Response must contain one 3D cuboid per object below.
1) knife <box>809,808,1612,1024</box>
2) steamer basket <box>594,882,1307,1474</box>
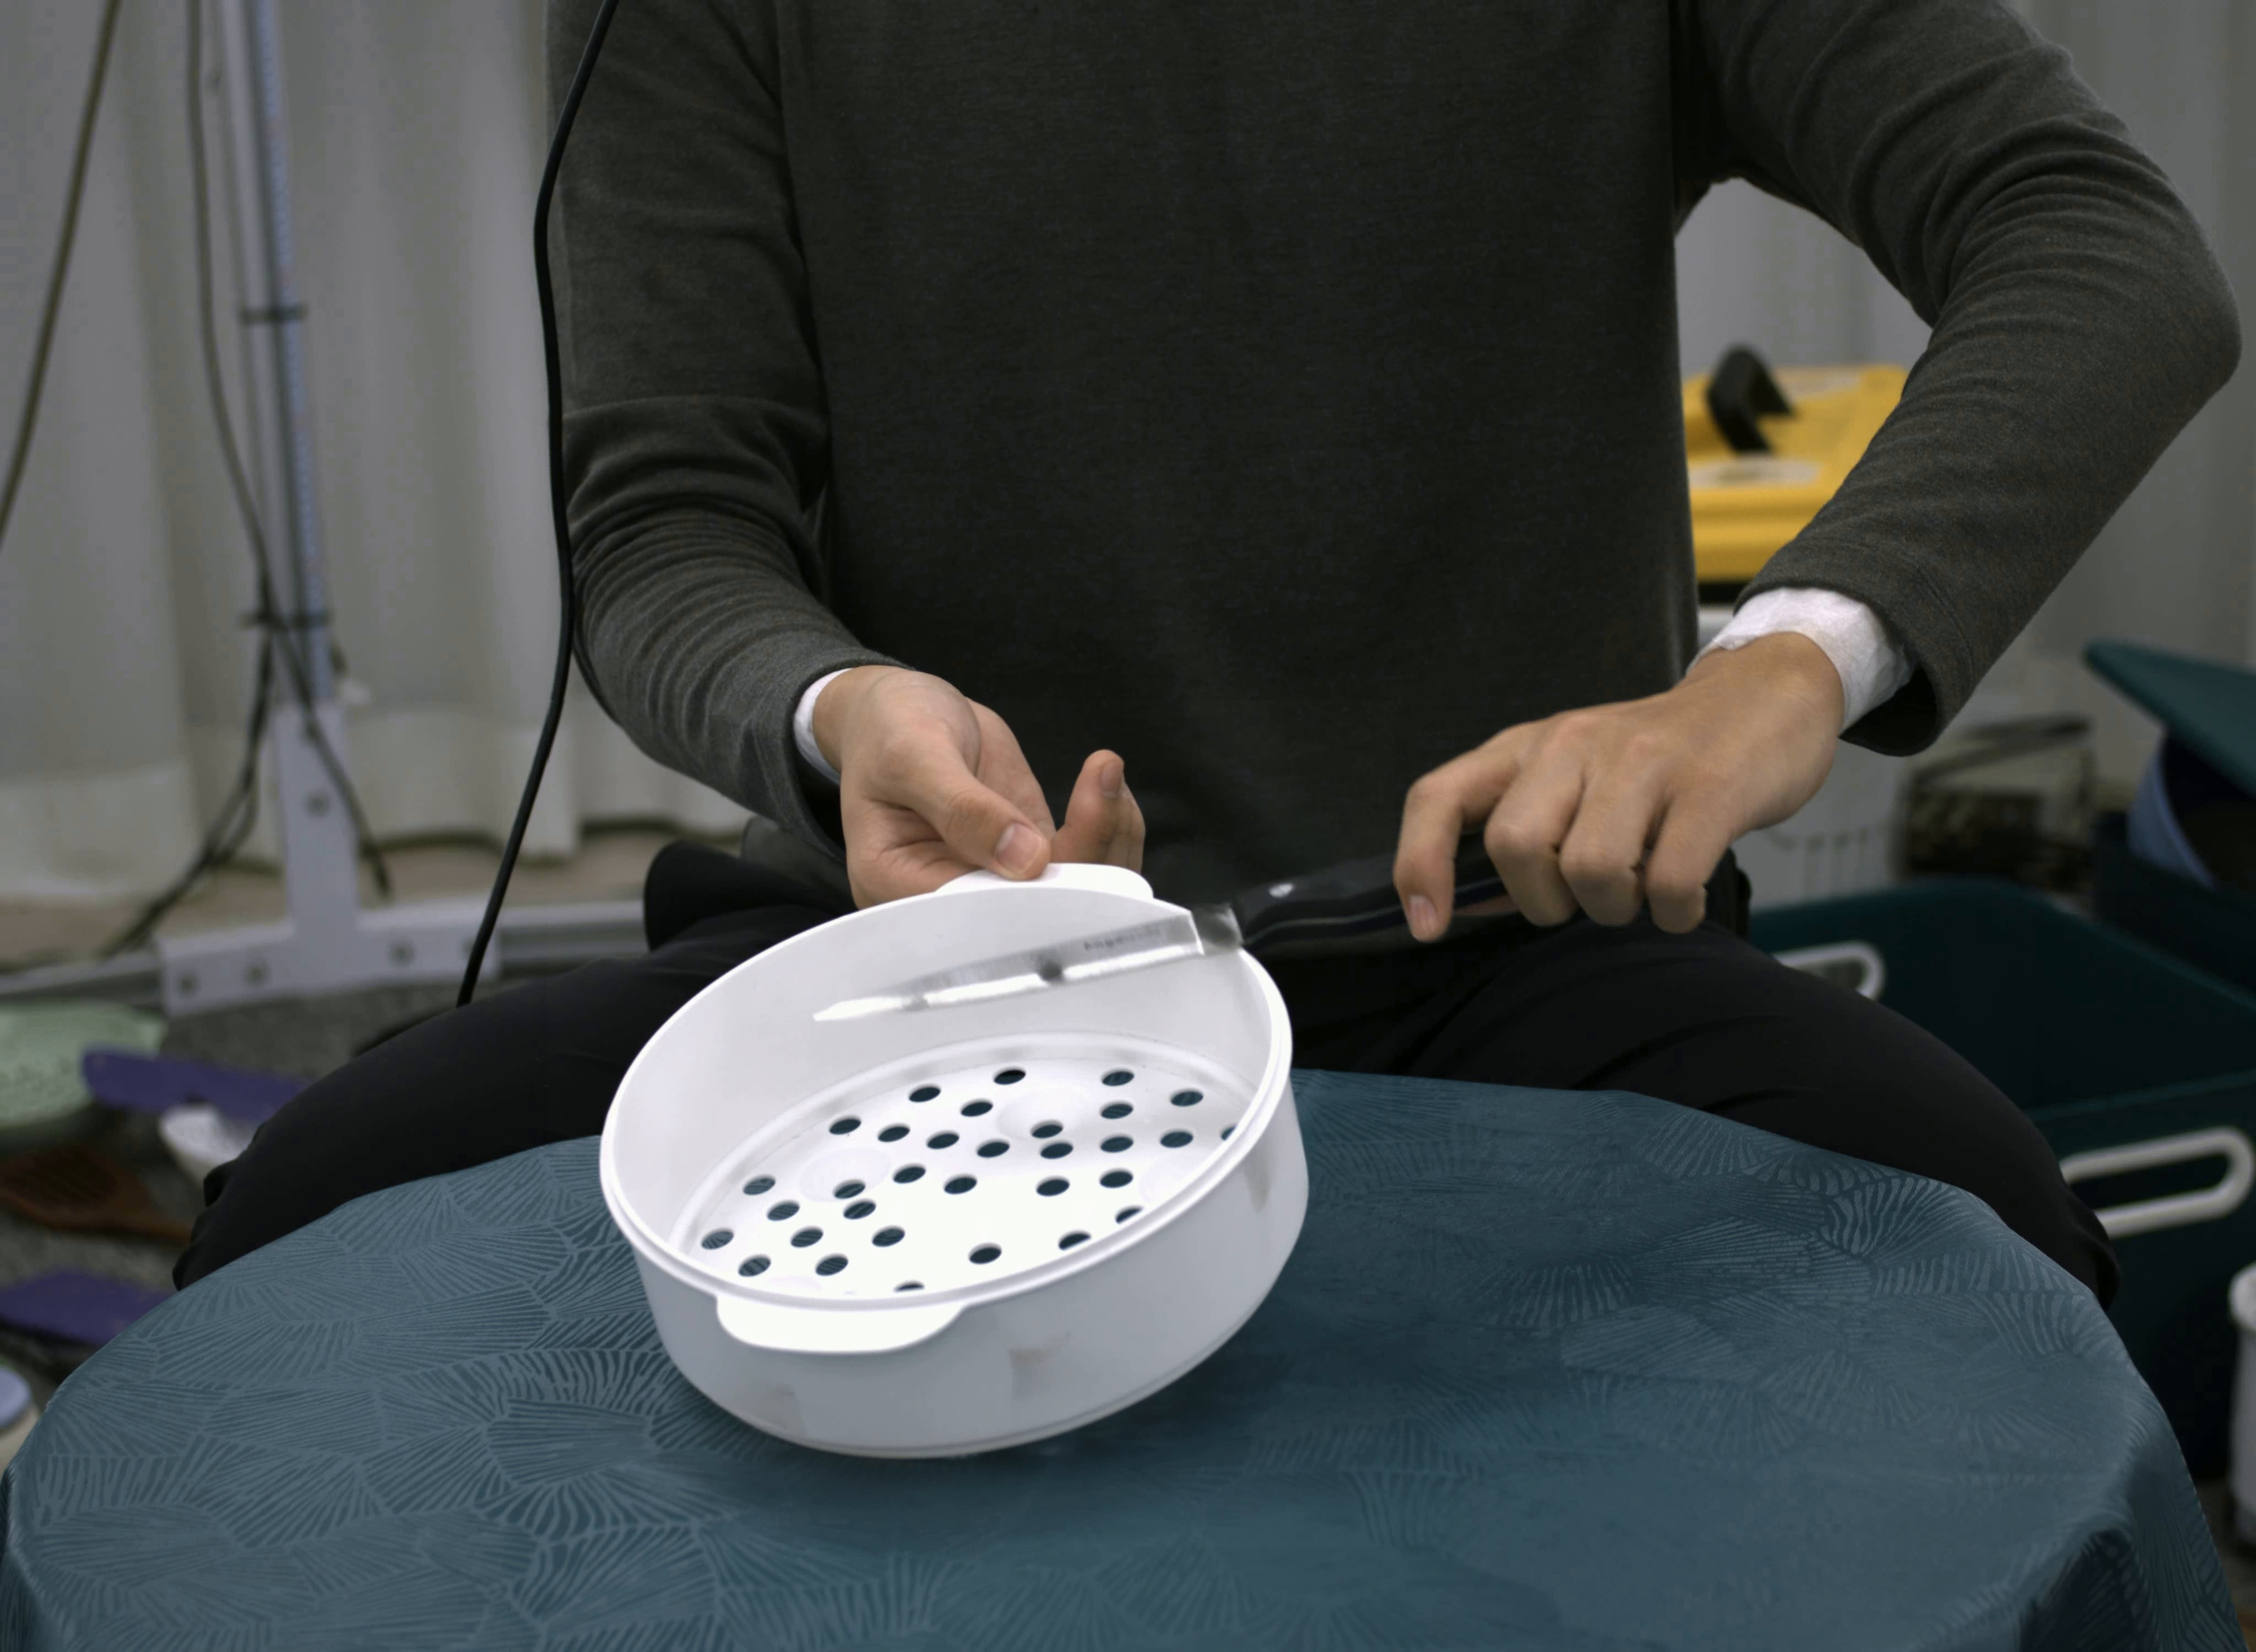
[{"bbox_3d":[0.023,0.028,1.585,0.237,0.016,0.025,-13,30,-1],"label":"knife"},{"bbox_3d":[-0.048,0.102,1.559,0.202,0.068,0.233,0,32,20],"label":"steamer basket"}]
